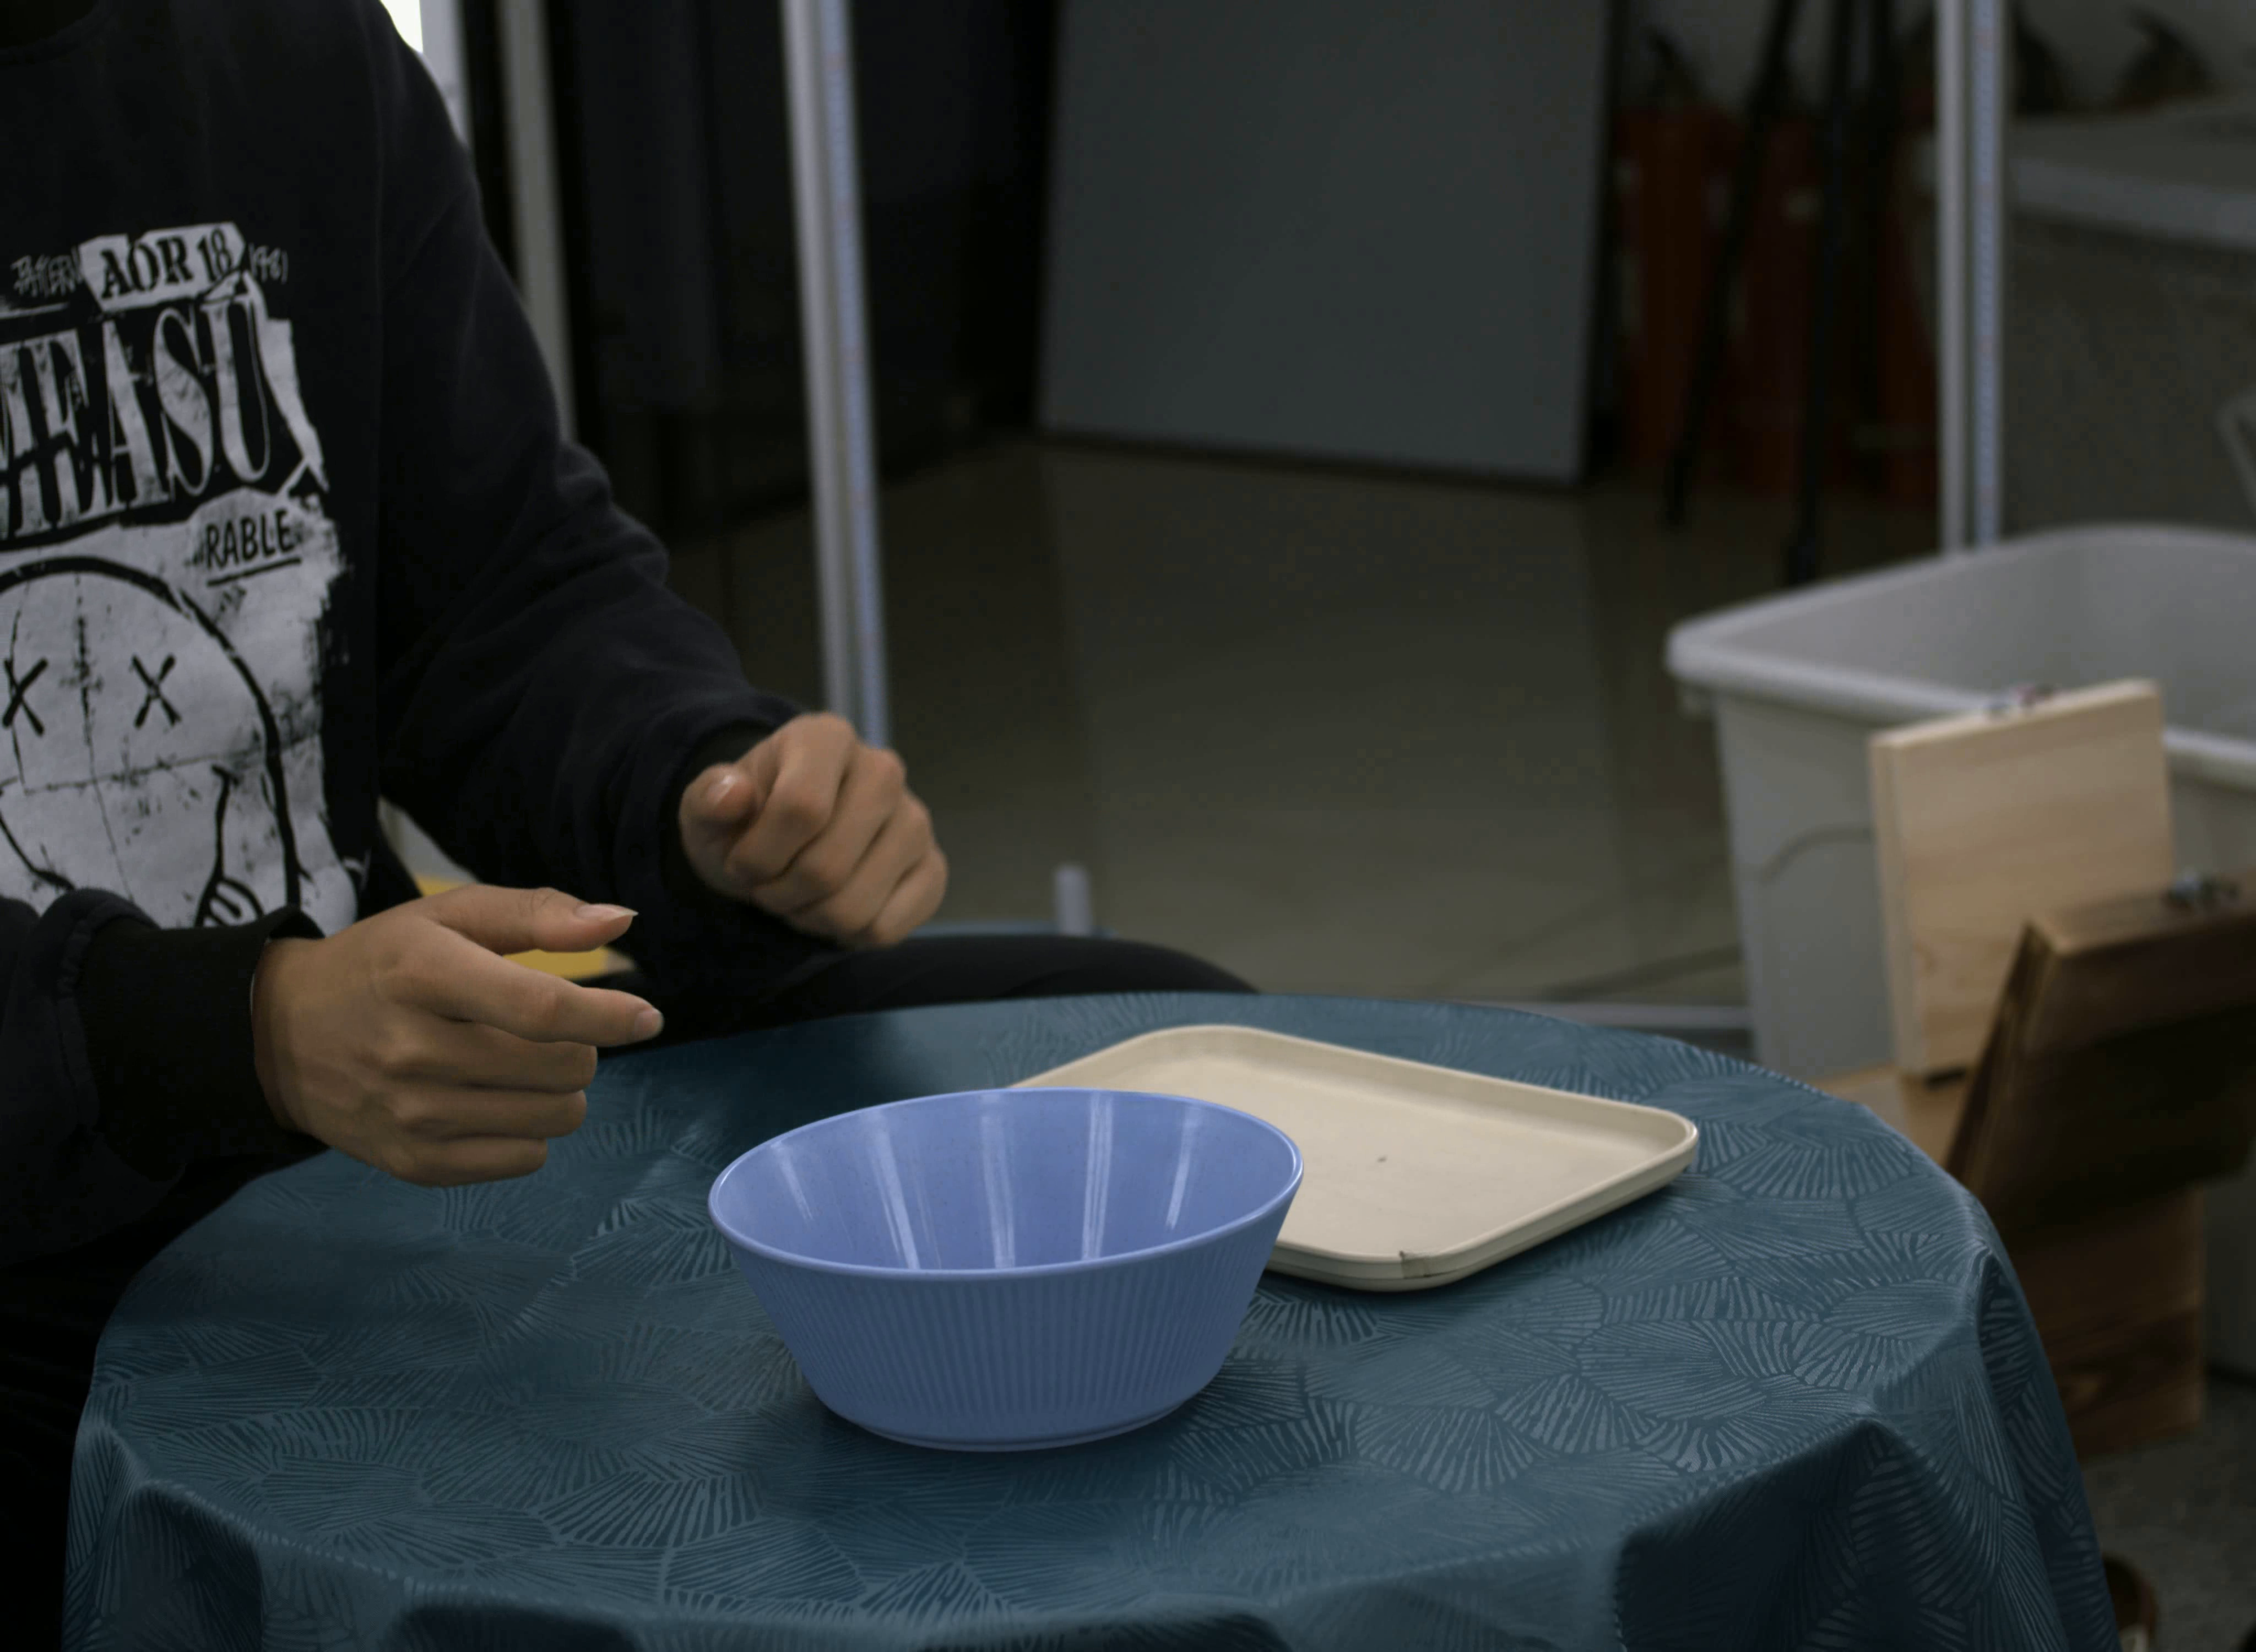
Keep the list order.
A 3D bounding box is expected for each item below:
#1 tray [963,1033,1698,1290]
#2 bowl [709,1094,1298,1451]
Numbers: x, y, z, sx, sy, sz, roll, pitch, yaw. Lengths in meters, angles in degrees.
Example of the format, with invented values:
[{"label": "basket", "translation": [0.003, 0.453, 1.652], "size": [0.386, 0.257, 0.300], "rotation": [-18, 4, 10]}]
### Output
[{"label": "tray", "translation": [0.055, 0.109, 1.767], "size": [0.242, 0.017, 0.168], "rotation": [9, 18, 42]}, {"label": "bowl", "translation": [-0.035, 0.133, 1.584], "size": [0.174, 0.071, 0.176], "rotation": [-3, 13, 0]}]
